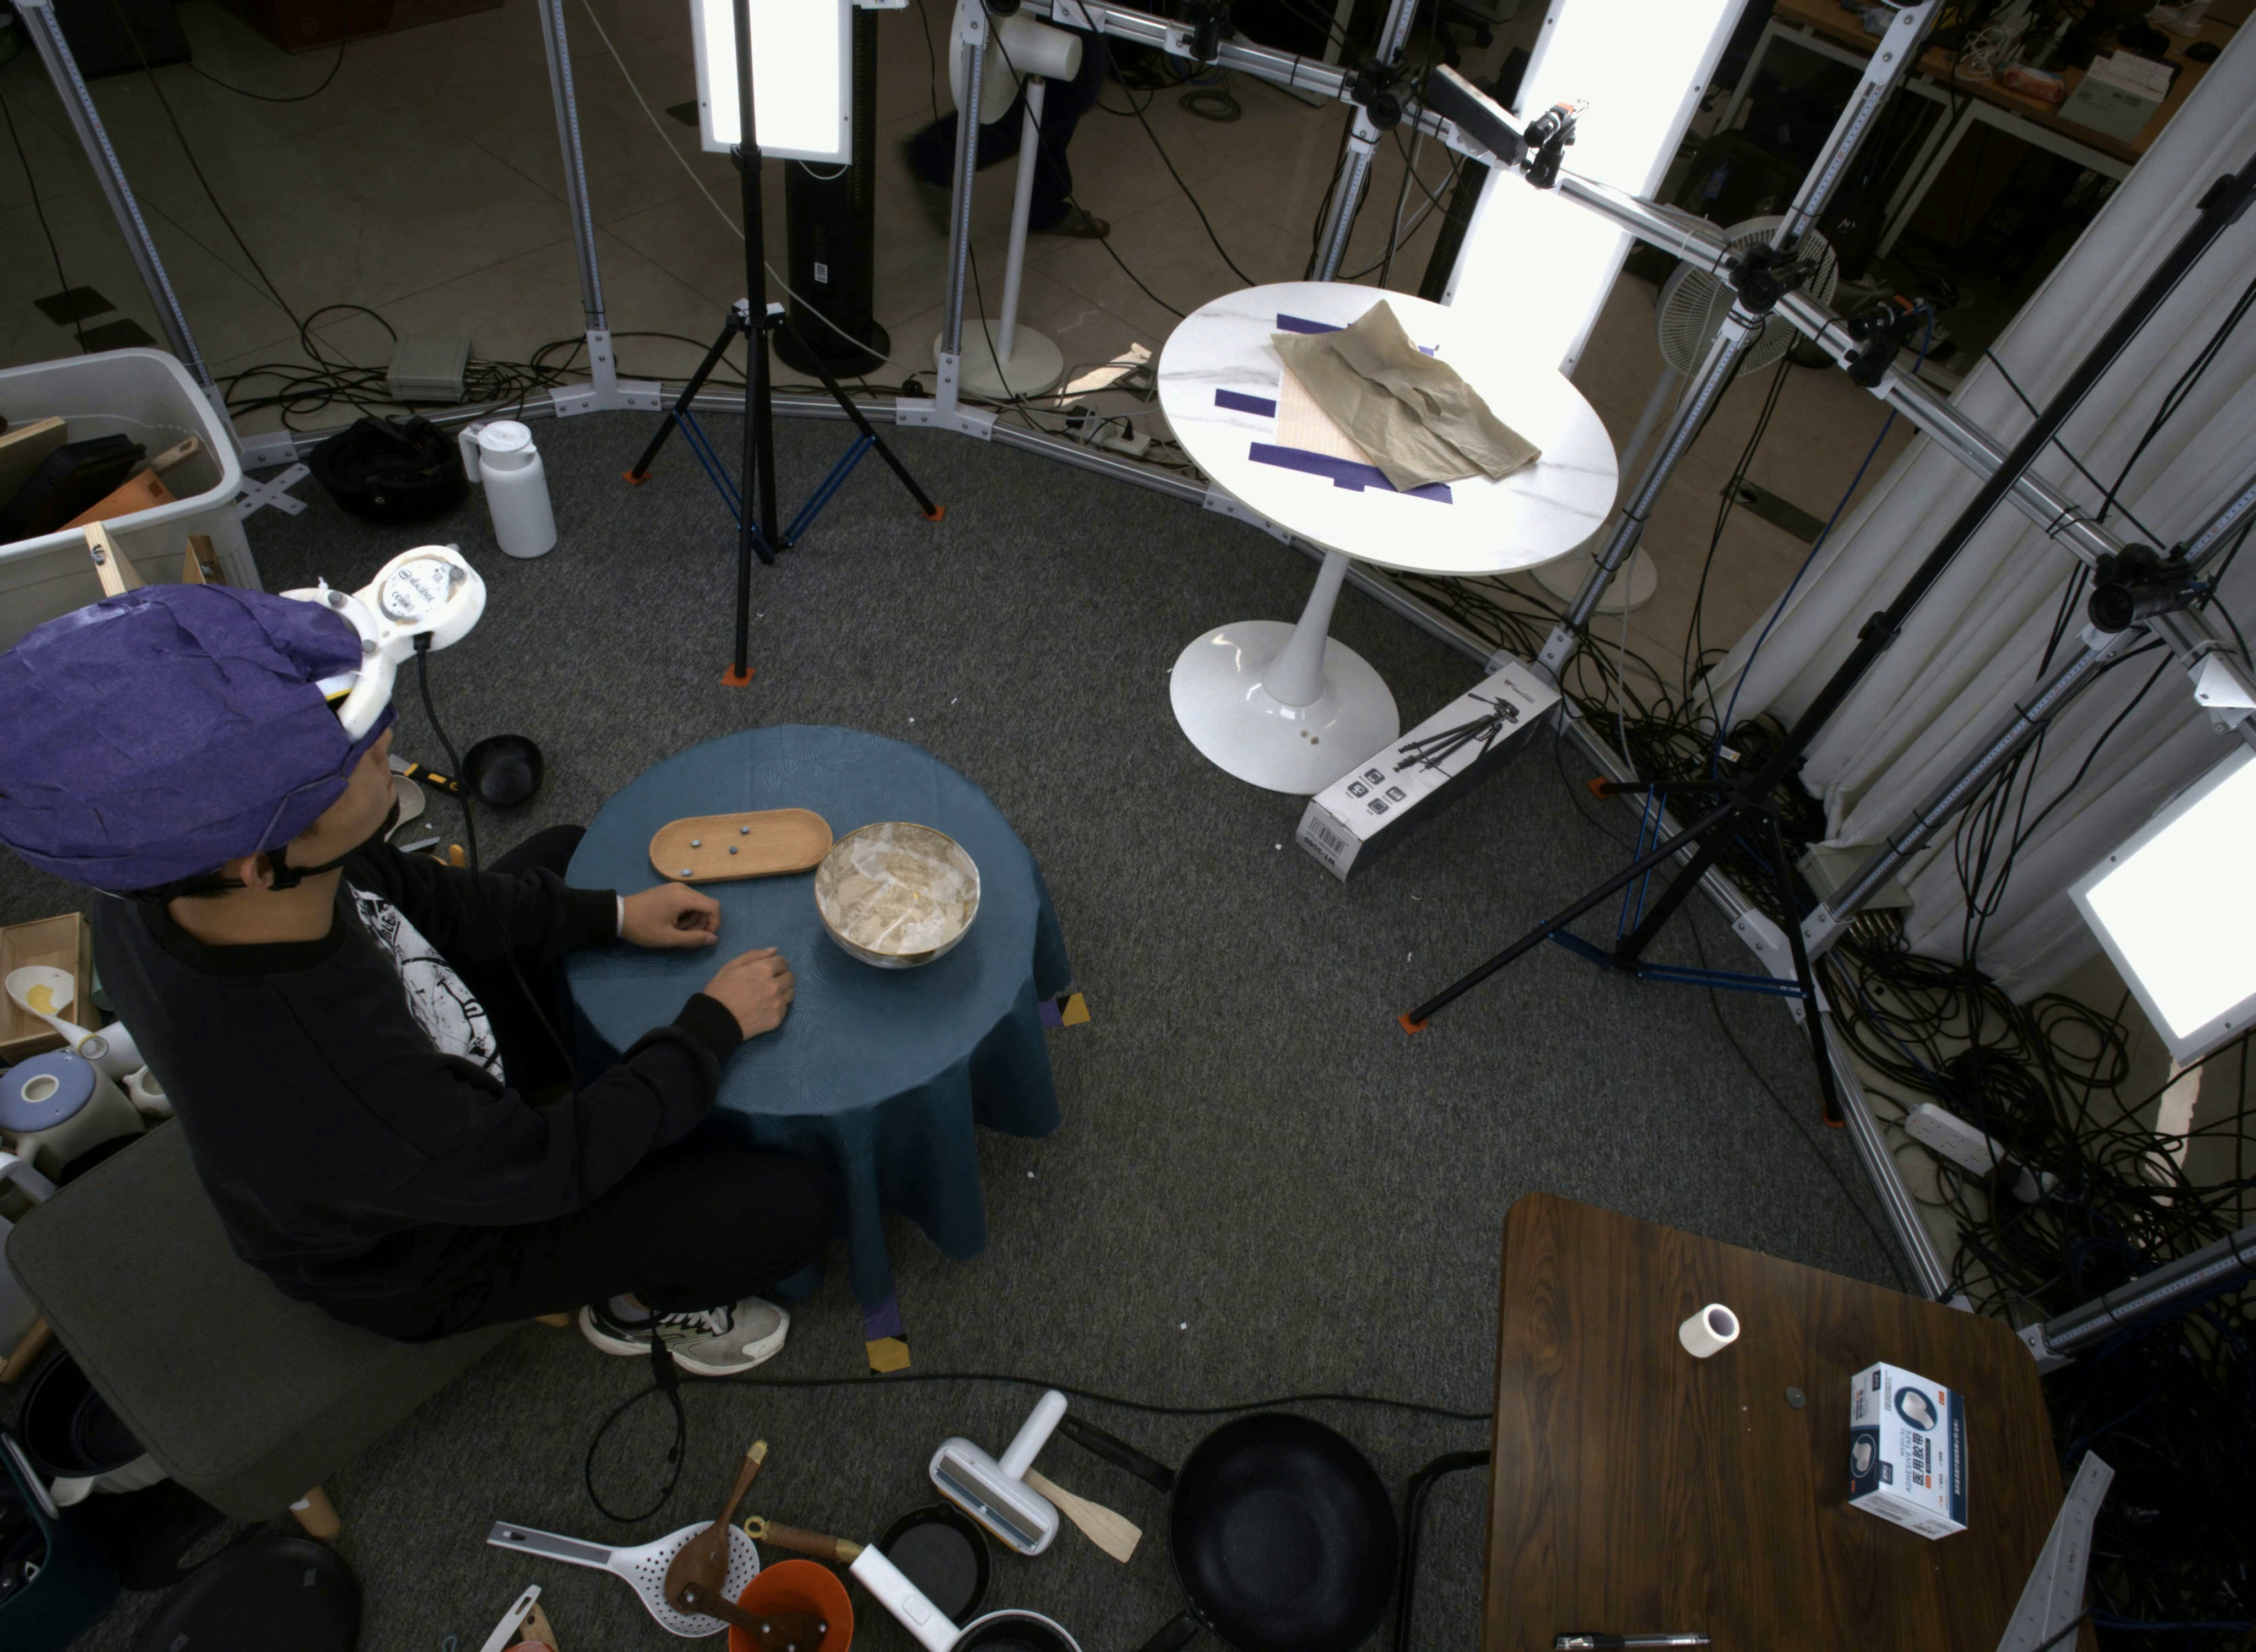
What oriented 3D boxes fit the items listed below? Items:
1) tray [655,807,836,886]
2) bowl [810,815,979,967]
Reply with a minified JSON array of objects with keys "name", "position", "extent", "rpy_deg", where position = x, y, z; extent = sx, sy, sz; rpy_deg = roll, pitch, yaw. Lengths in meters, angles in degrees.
[{"name":"tray","position":[-0.497,0.025,1.682],"extent":[0.232,0.020,0.099],"rpy_deg":[-6,58,-21]},{"name":"bowl","position":[-0.293,0.094,1.631],"extent":[0.214,0.096,0.211],"rpy_deg":[8,53,-9]}]
